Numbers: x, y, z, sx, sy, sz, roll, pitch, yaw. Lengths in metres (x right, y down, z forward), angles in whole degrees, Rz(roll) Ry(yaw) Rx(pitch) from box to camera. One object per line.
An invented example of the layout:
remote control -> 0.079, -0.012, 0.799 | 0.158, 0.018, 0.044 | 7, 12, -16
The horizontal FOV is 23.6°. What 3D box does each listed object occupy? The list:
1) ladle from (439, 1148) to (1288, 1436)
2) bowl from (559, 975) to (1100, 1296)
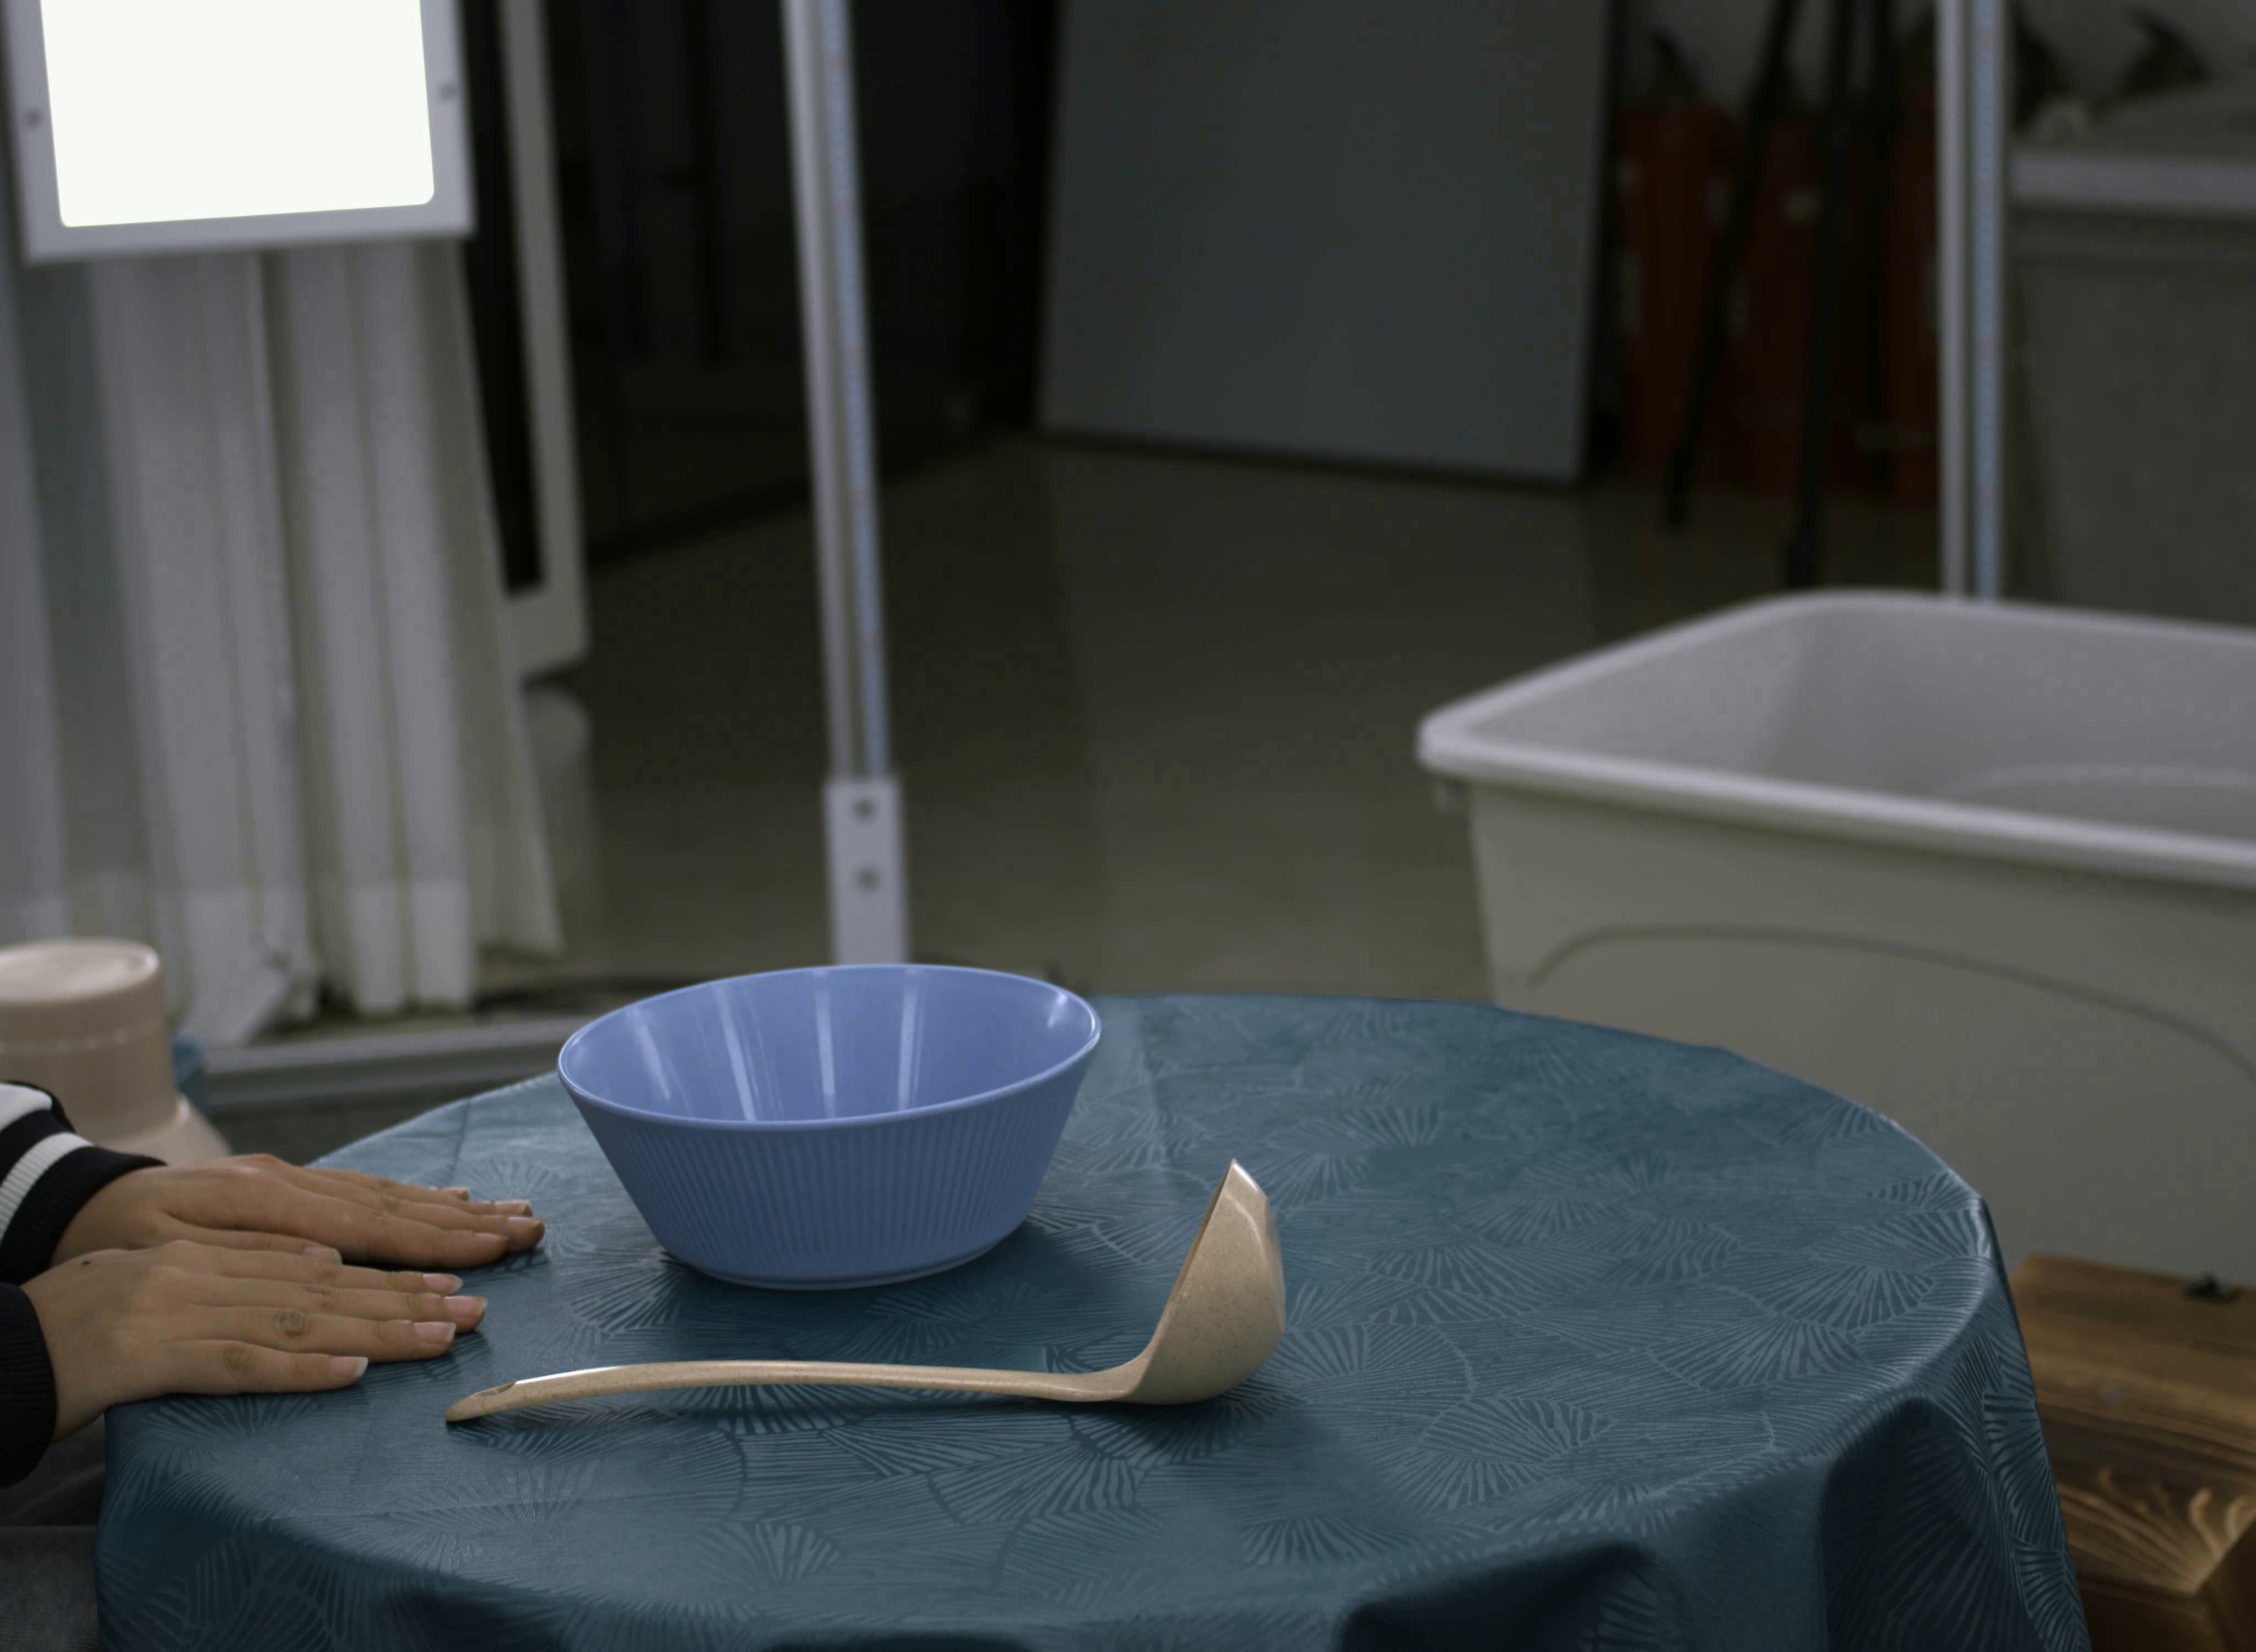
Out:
ladle -> -0.079, 0.136, 1.577 | 0.252, 0.073, 0.072 | -3, 9, 5
bowl -> -0.093, 0.101, 1.734 | 0.174, 0.071, 0.176 | -4, 12, 0
